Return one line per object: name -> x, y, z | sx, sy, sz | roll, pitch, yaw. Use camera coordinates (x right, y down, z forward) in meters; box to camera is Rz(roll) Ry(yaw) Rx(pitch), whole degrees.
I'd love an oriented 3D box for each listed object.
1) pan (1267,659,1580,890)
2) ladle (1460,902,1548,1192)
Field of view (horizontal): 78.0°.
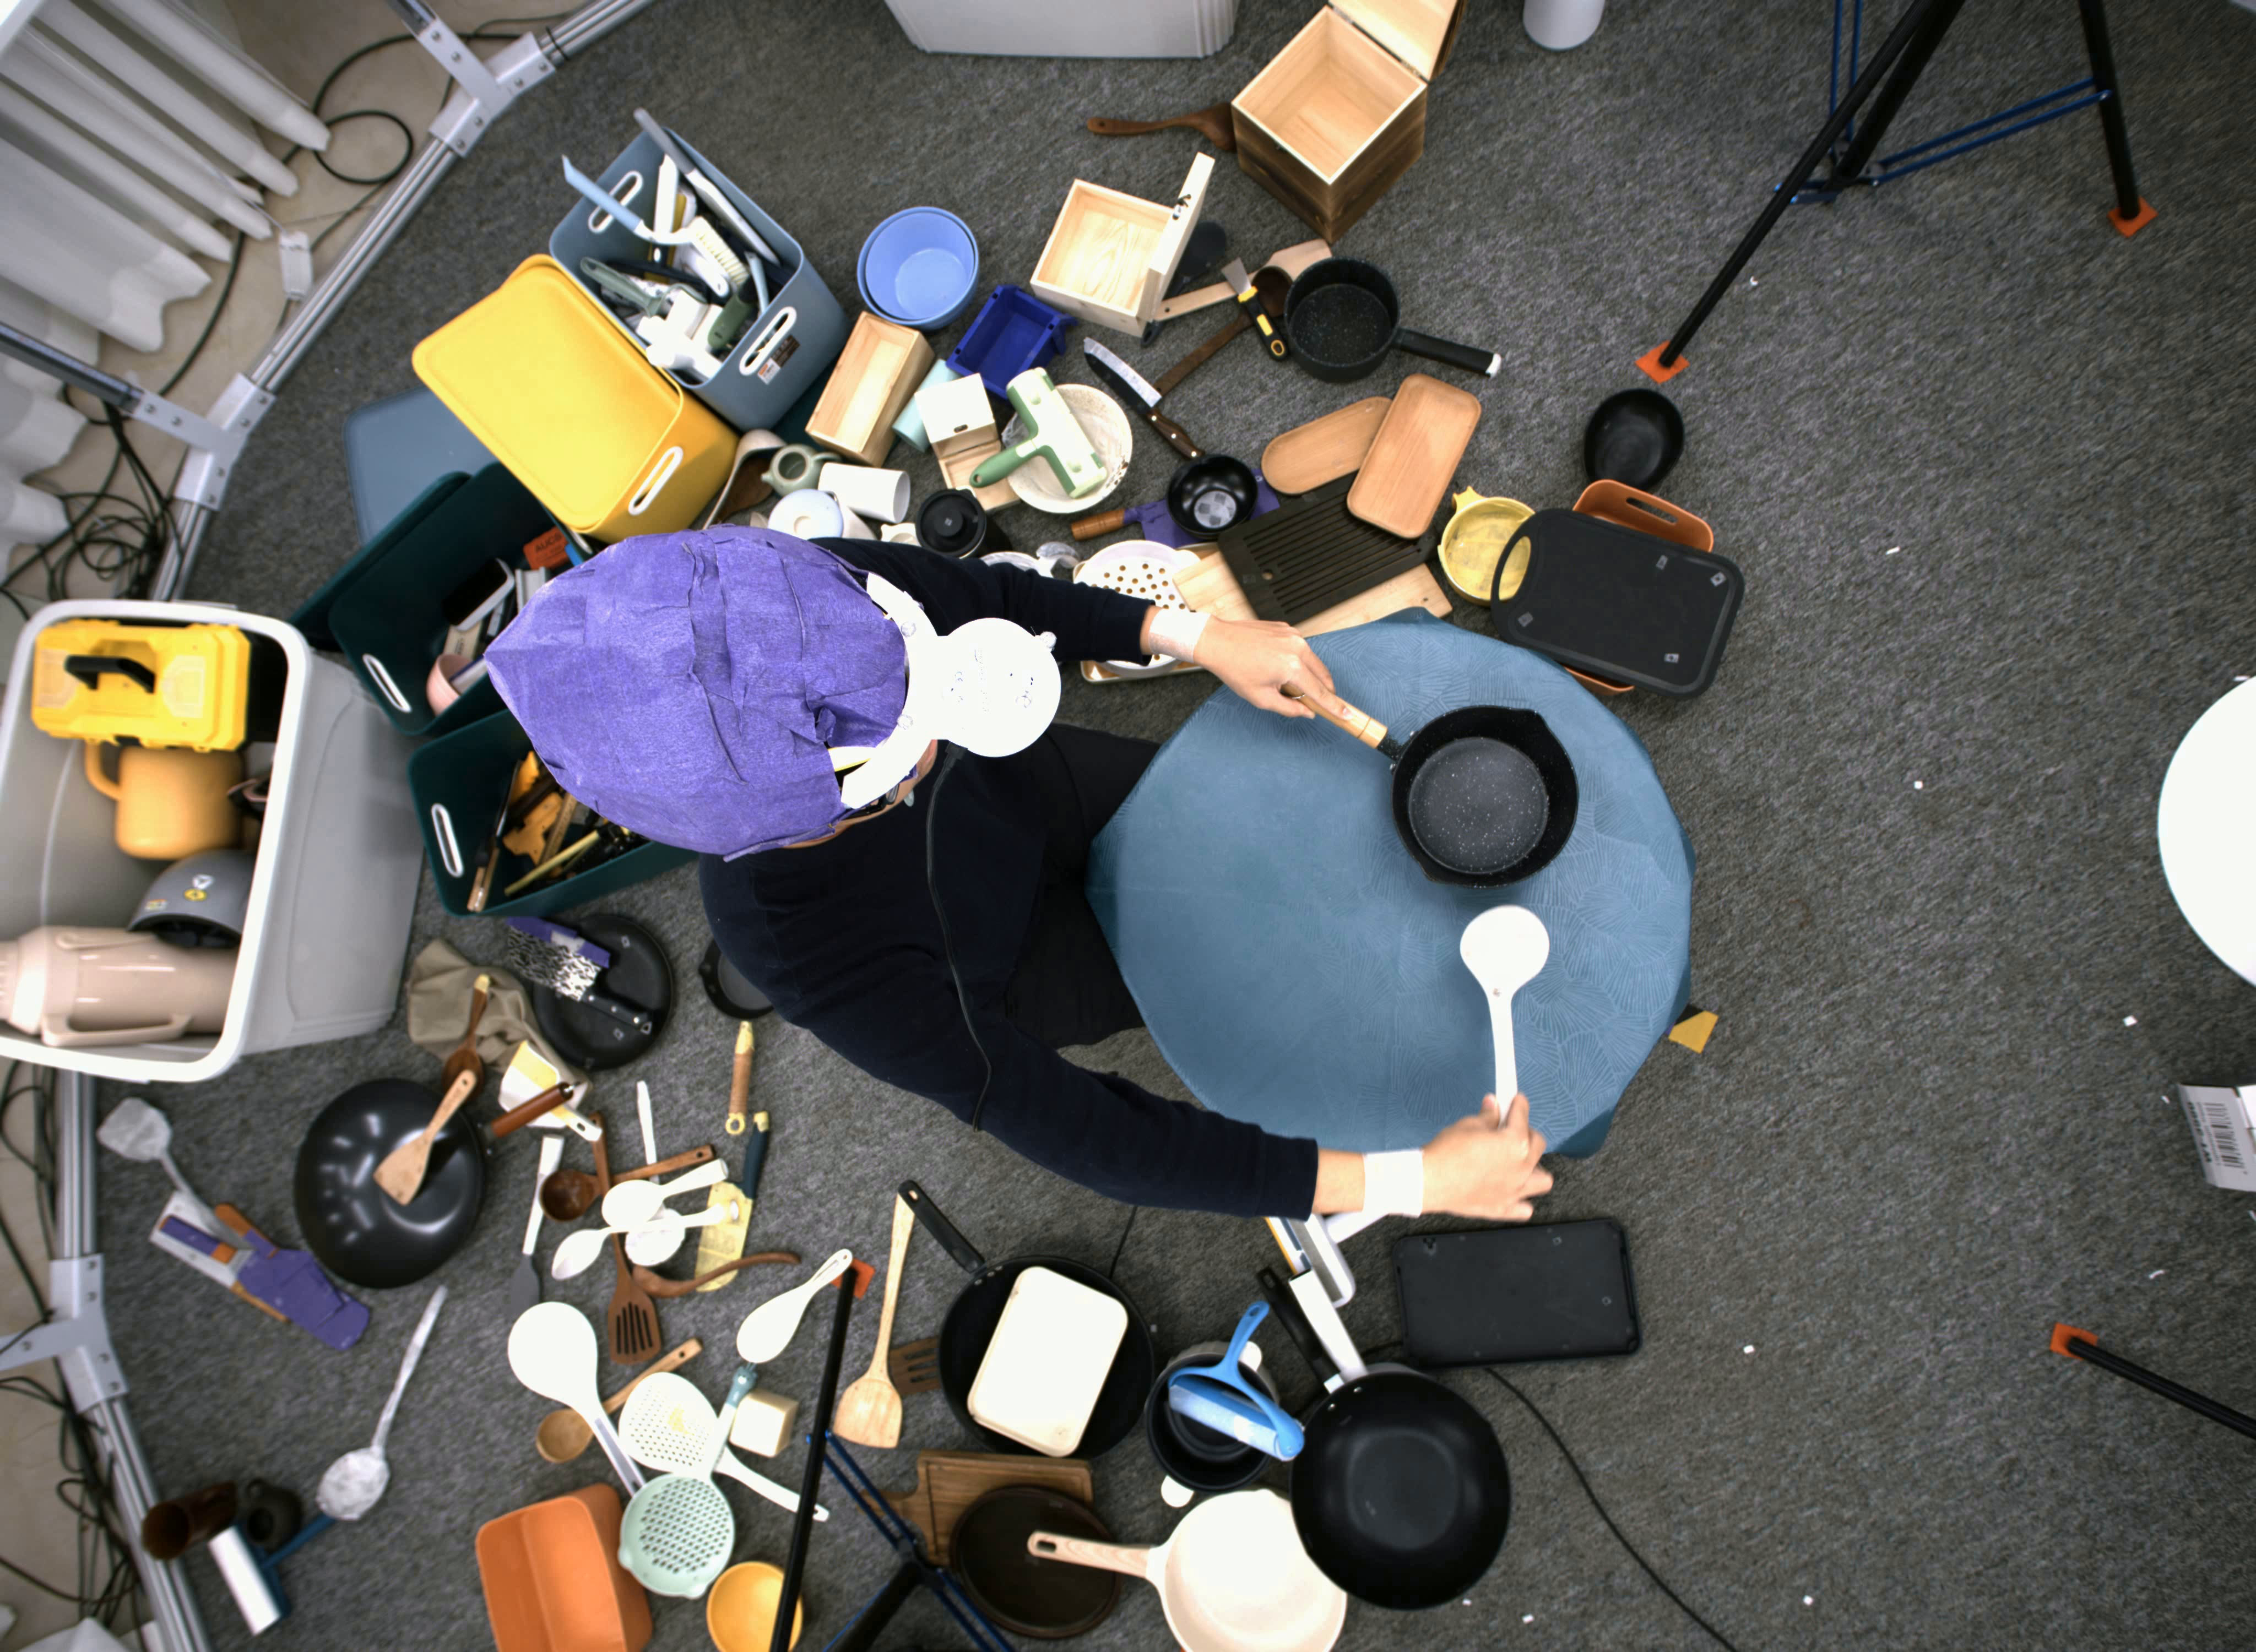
pan -> 0.292, -0.068, 1.409 | 0.342, 0.108, 0.208 | 30, 93, 9
ladle -> 0.357, 0.196, 1.279 | 0.089, 0.071, 0.267 | 14, 54, -10
